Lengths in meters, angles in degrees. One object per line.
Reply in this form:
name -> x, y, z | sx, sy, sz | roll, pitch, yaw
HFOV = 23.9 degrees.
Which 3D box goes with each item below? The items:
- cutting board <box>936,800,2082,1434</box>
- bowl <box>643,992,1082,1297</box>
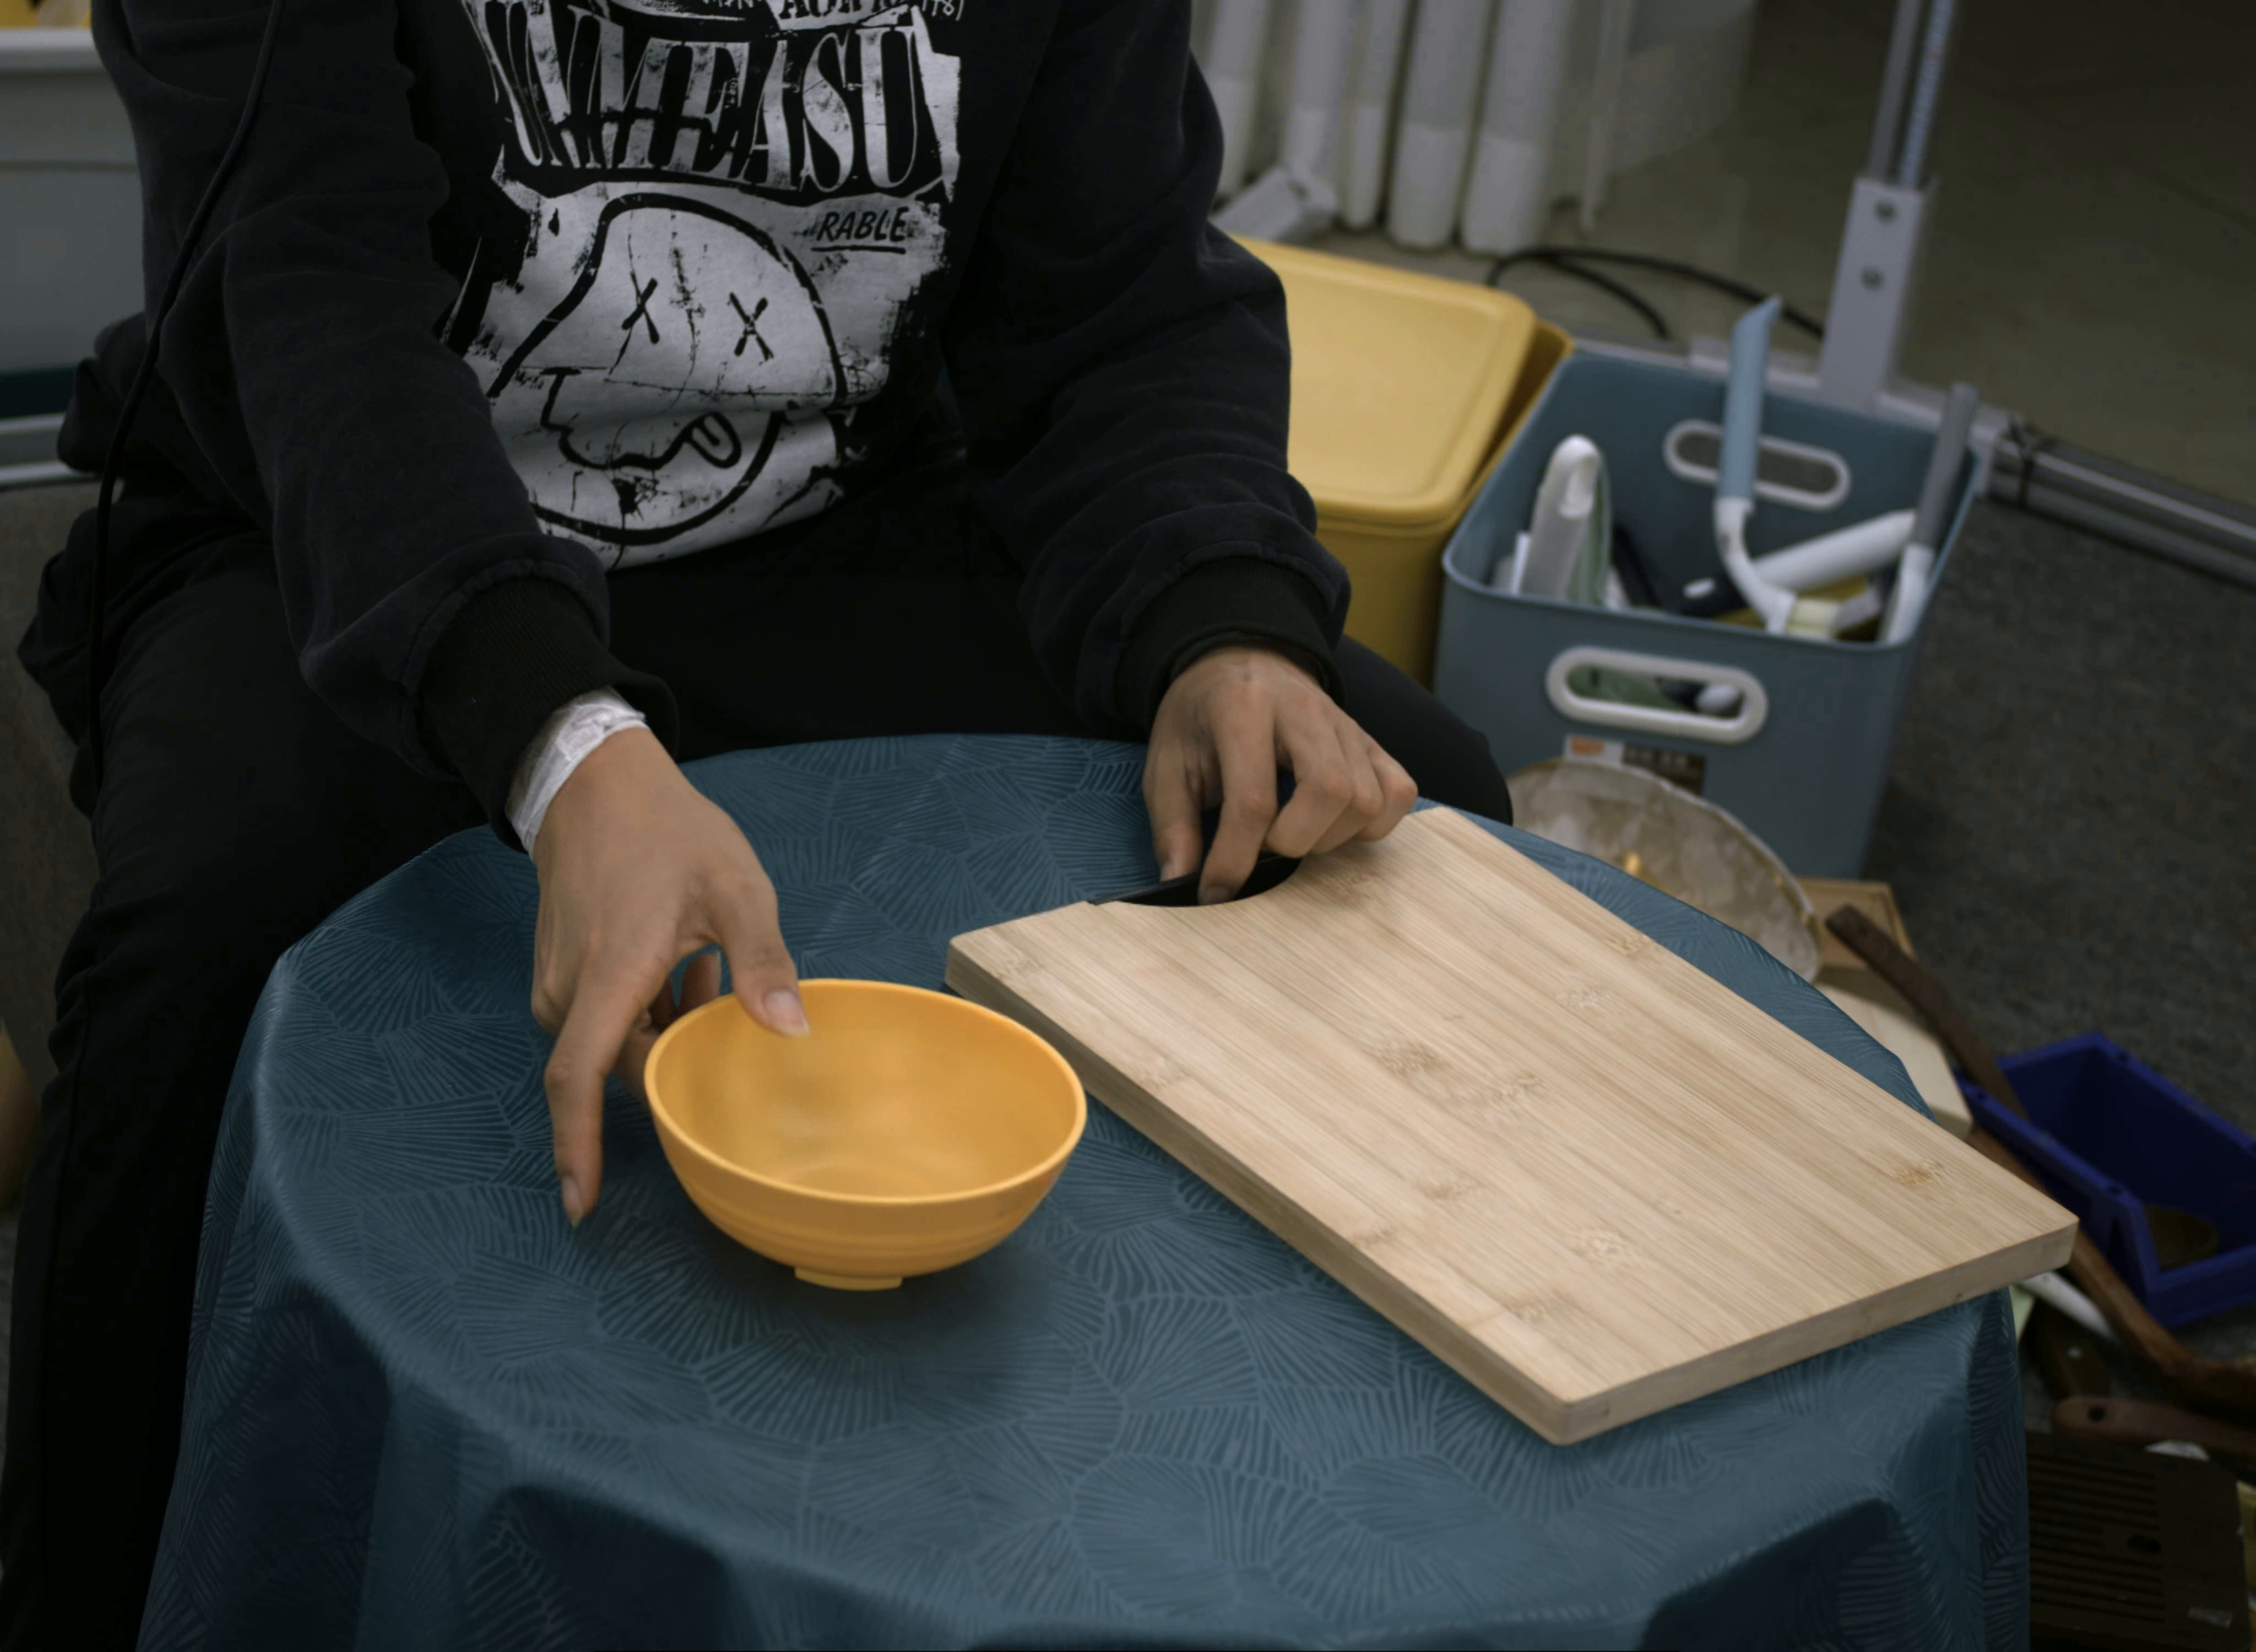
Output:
cutting board -> 0.128, 0.094, 1.870 | 0.249, 0.023, 0.351 | -15, 33, -36
bowl -> -0.090, 0.112, 1.741 | 0.145, 0.060, 0.146 | 6, 24, -3
